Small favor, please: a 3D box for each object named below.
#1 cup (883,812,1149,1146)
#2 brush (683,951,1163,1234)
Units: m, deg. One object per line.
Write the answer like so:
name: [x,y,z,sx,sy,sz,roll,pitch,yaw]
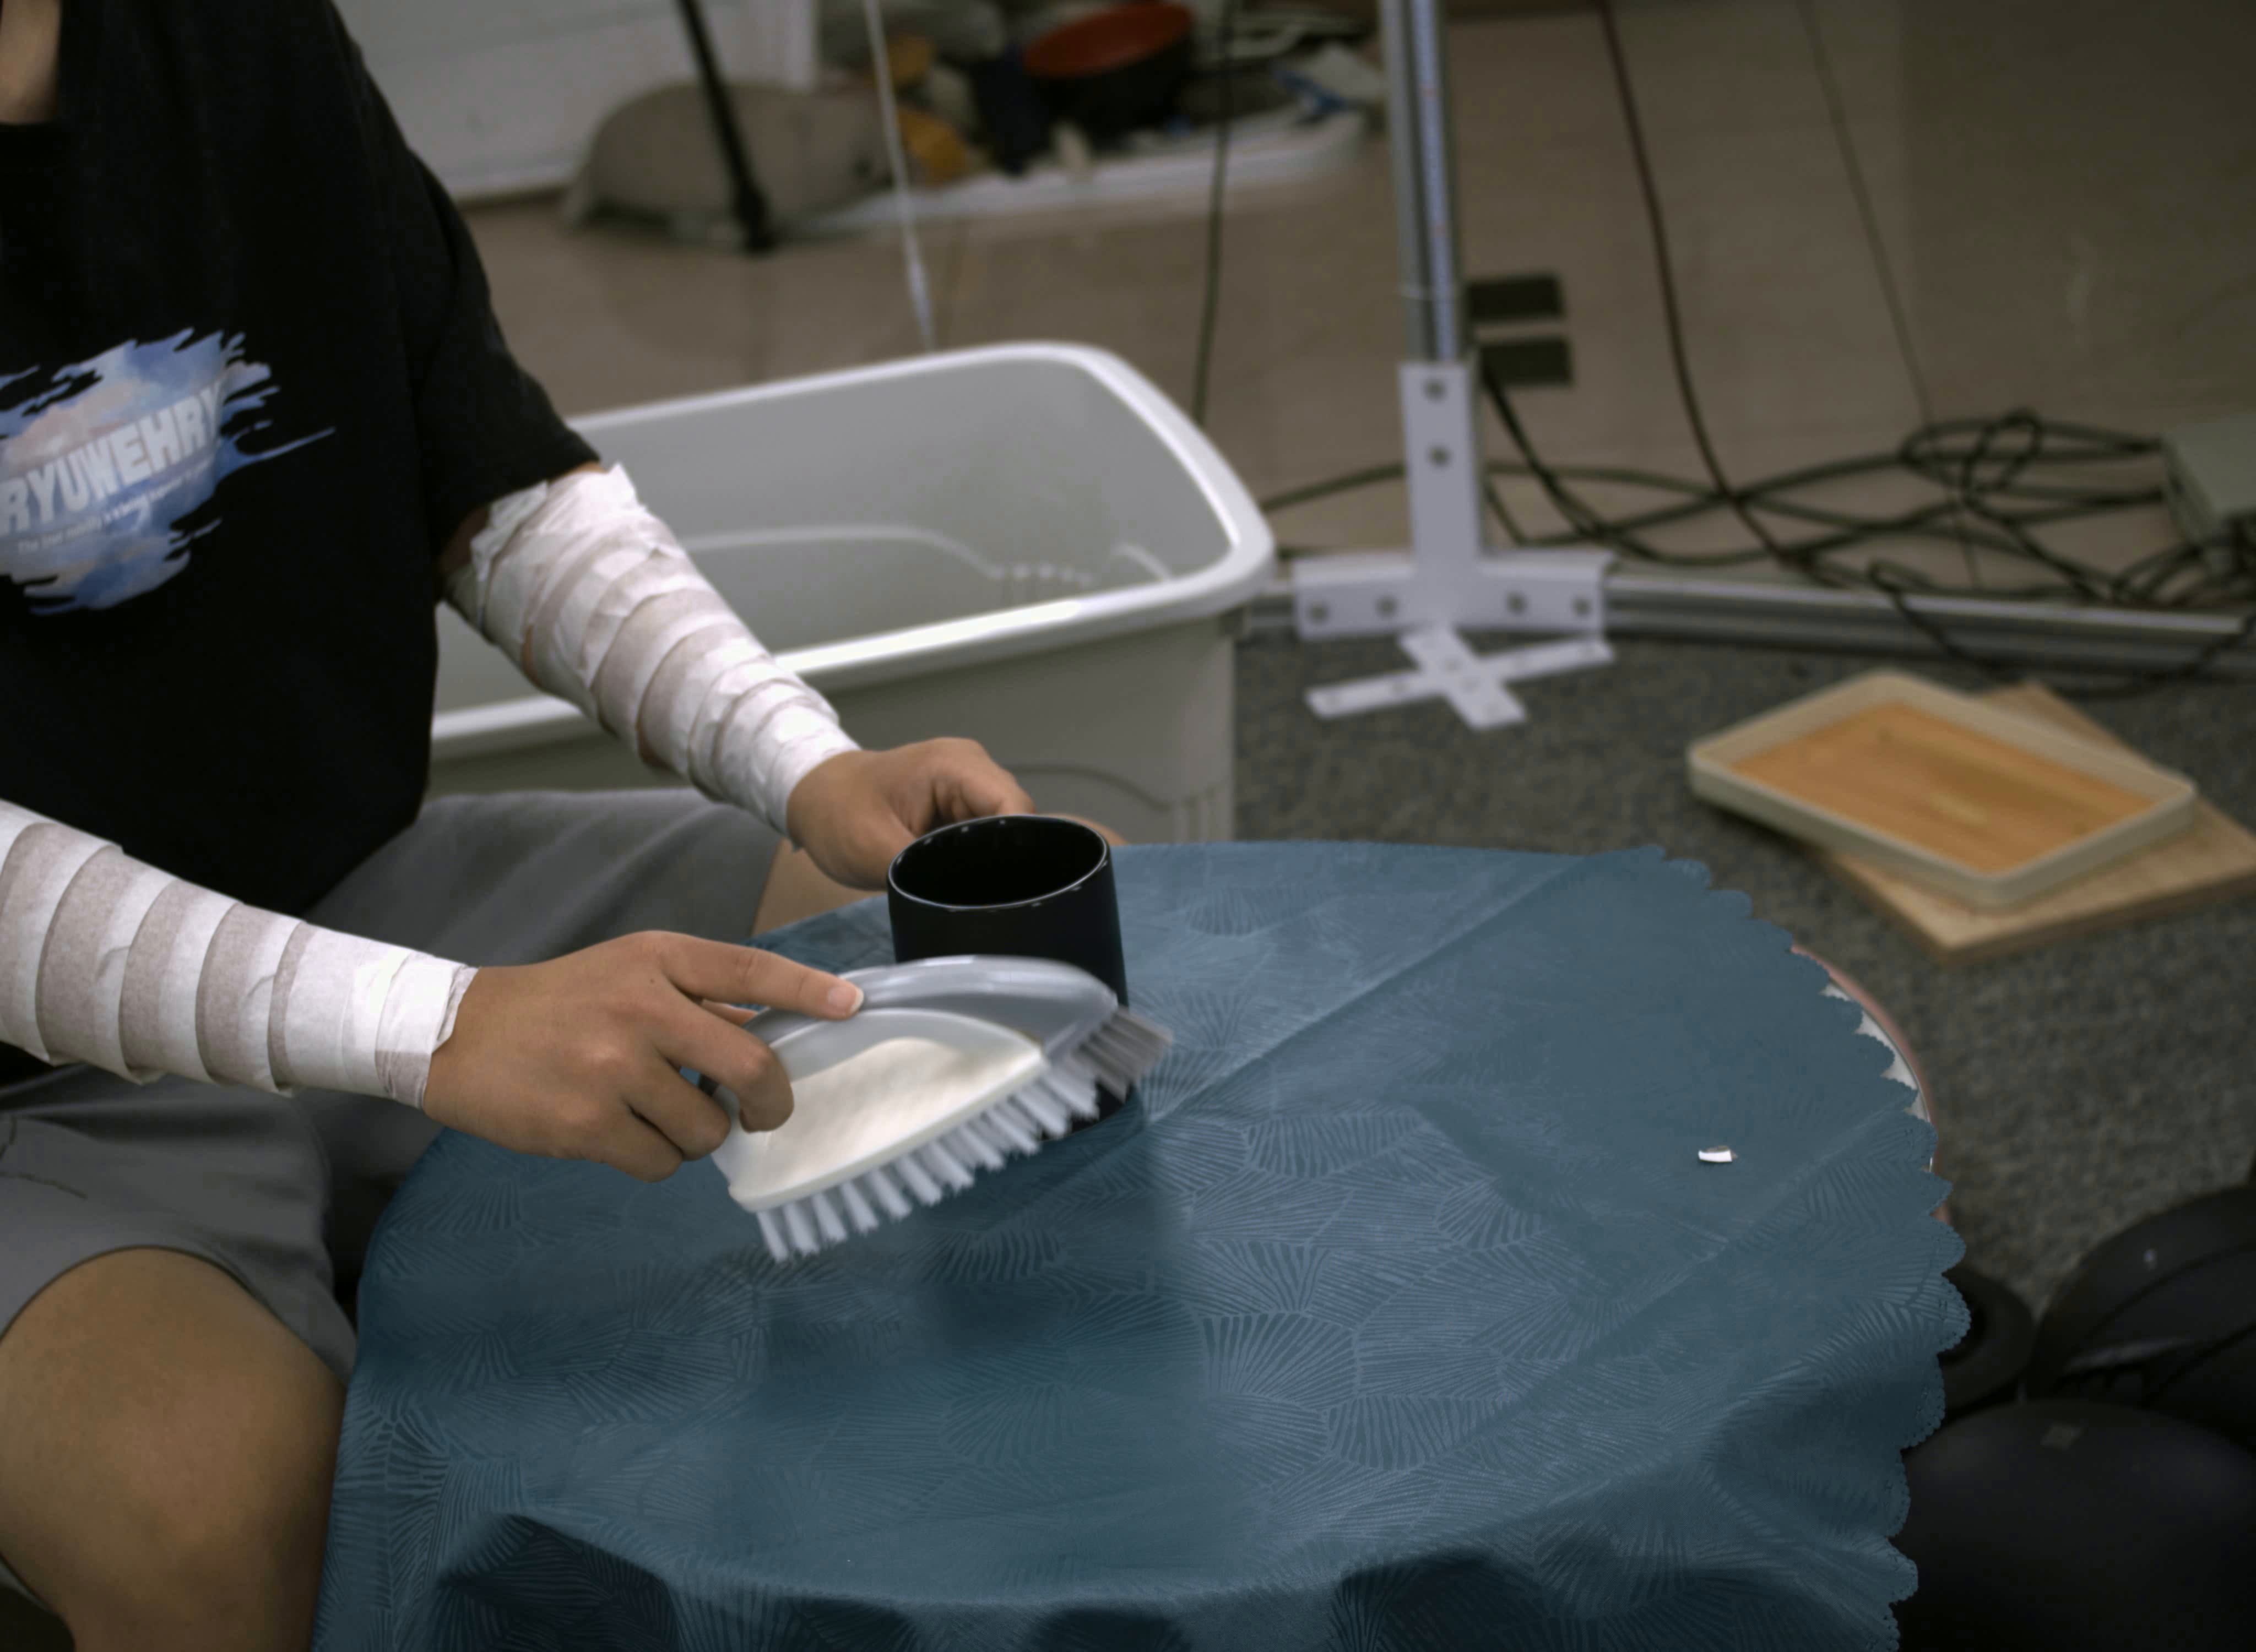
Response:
cup: [-0.046,0.053,2.223,0.088,0.107,0.122,-13,25,-4]
brush: [-0.082,0.081,2.073,0.176,0.095,0.060,-22,46,20]
